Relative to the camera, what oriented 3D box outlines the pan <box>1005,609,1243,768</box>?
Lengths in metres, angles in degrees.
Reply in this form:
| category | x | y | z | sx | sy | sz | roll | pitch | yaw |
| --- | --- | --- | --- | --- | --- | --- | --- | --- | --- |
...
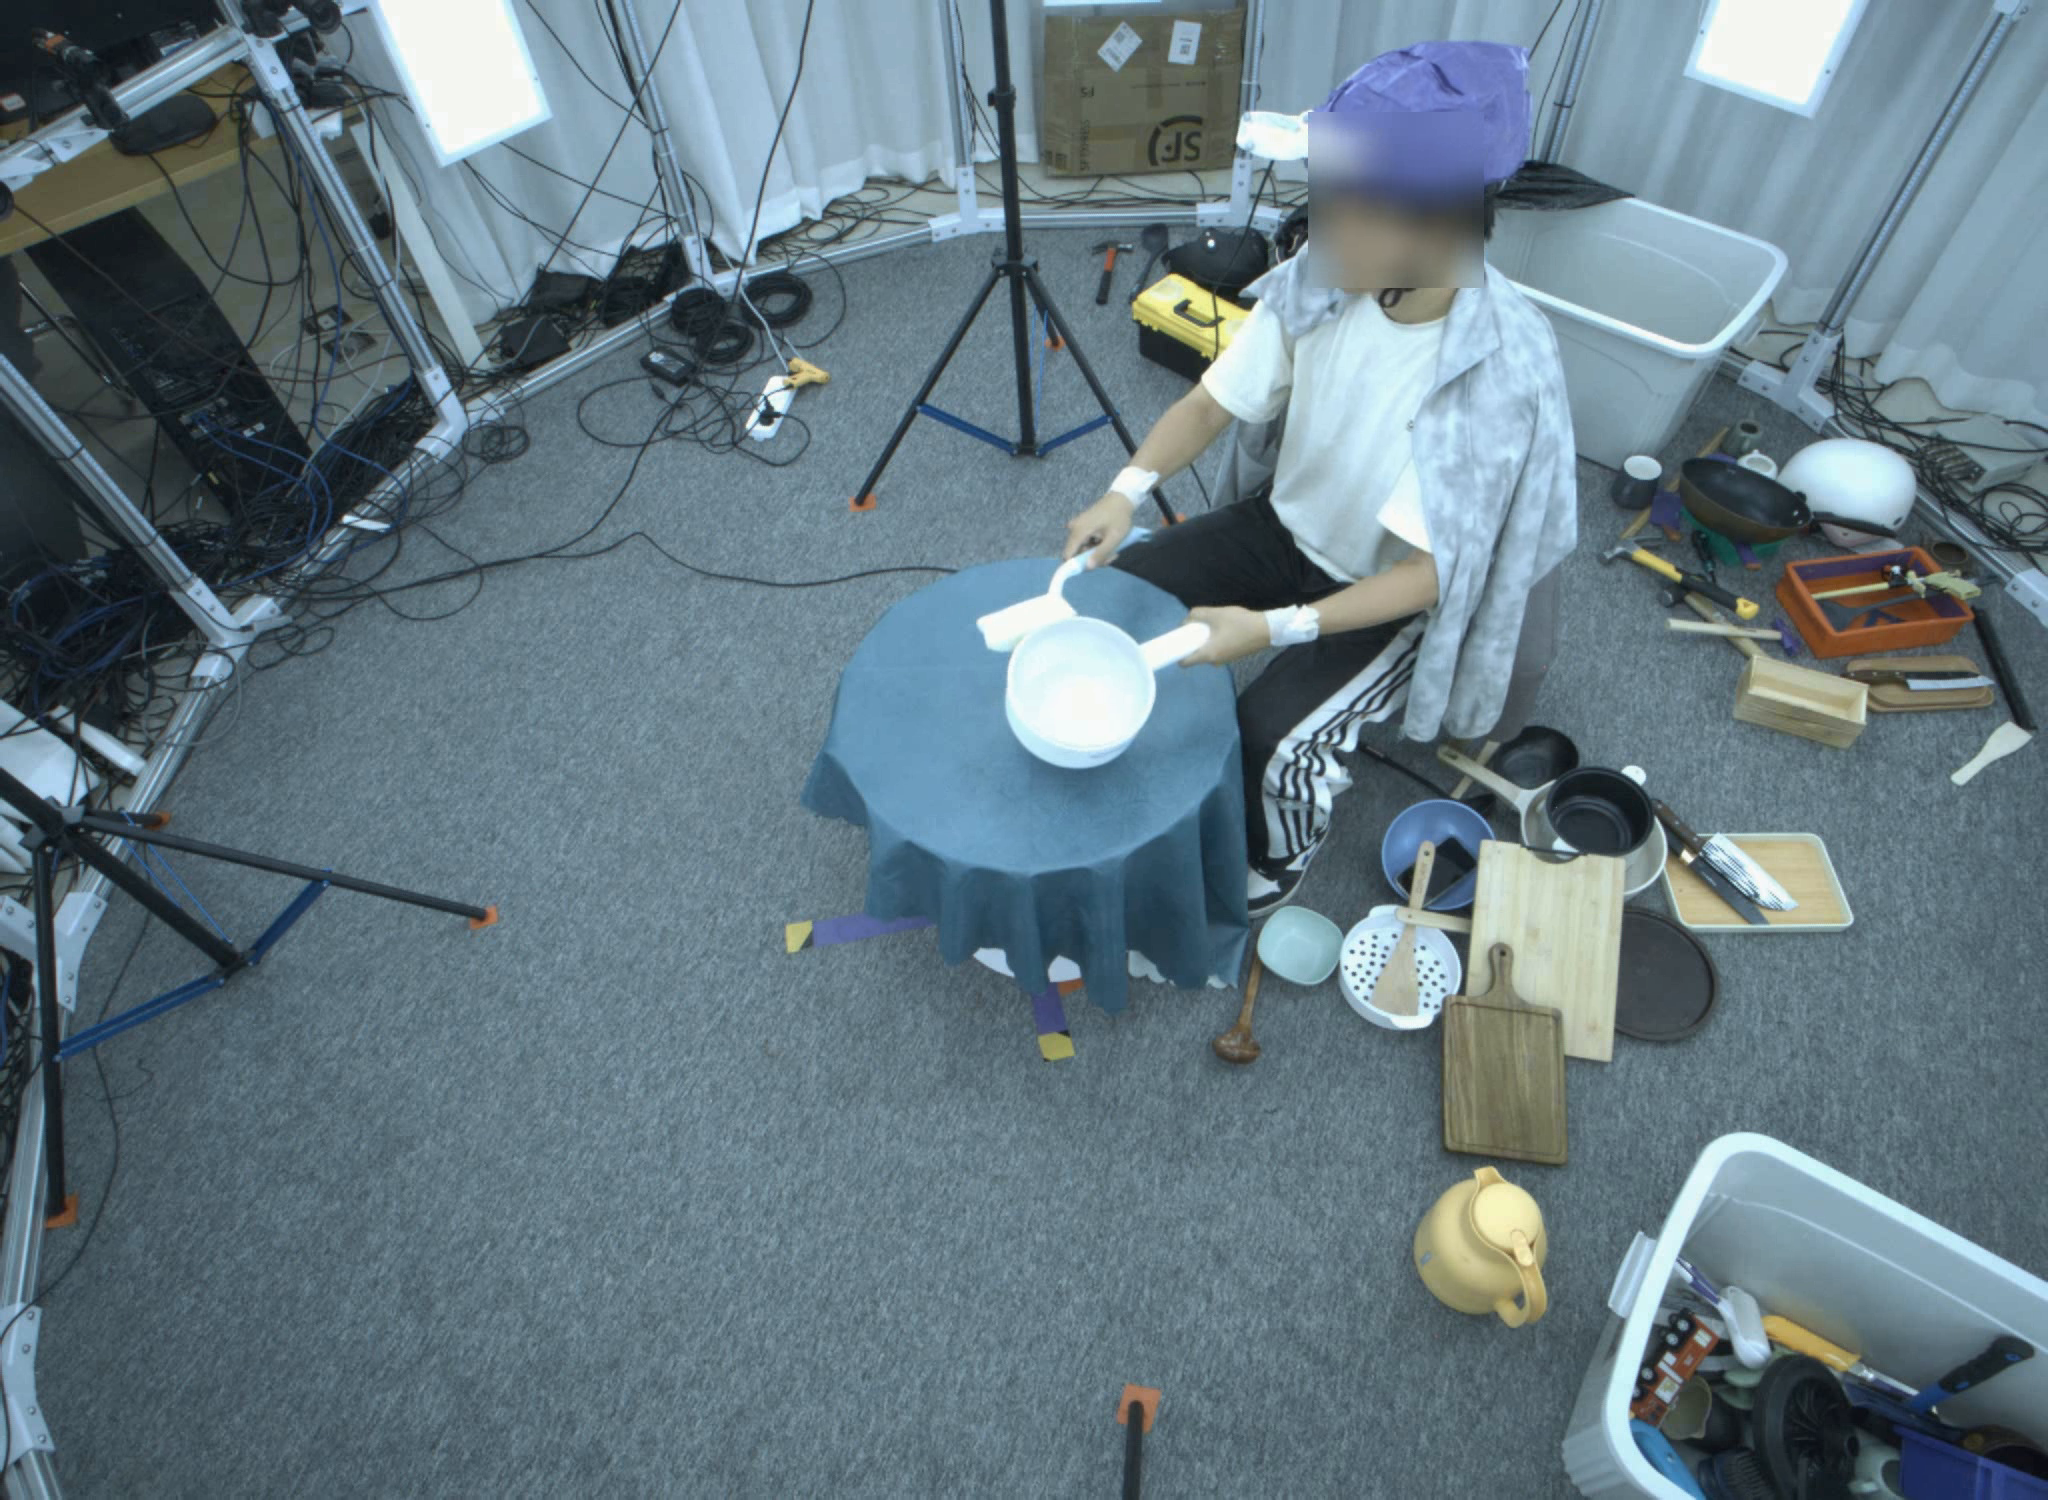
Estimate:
| category | x | y | z | sx | sy | sz | roll | pitch | yaw |
| --- | --- | --- | --- | --- | --- | --- | --- | --- | --- |
| pan | 0.140 | -0.104 | 1.727 | 0.358 | 0.102 | 0.199 | -24 | 73 | -18 |

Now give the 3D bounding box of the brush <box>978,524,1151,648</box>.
| category | x | y | z | sx | sy | sz | roll | pitch | yaw |
| --- | --- | --- | --- | --- | --- | --- | --- | --- | --- |
| brush | 0.080 | -0.227 | 1.745 | 0.329 | 0.085 | 0.081 | -32 | 24 | -26 |
